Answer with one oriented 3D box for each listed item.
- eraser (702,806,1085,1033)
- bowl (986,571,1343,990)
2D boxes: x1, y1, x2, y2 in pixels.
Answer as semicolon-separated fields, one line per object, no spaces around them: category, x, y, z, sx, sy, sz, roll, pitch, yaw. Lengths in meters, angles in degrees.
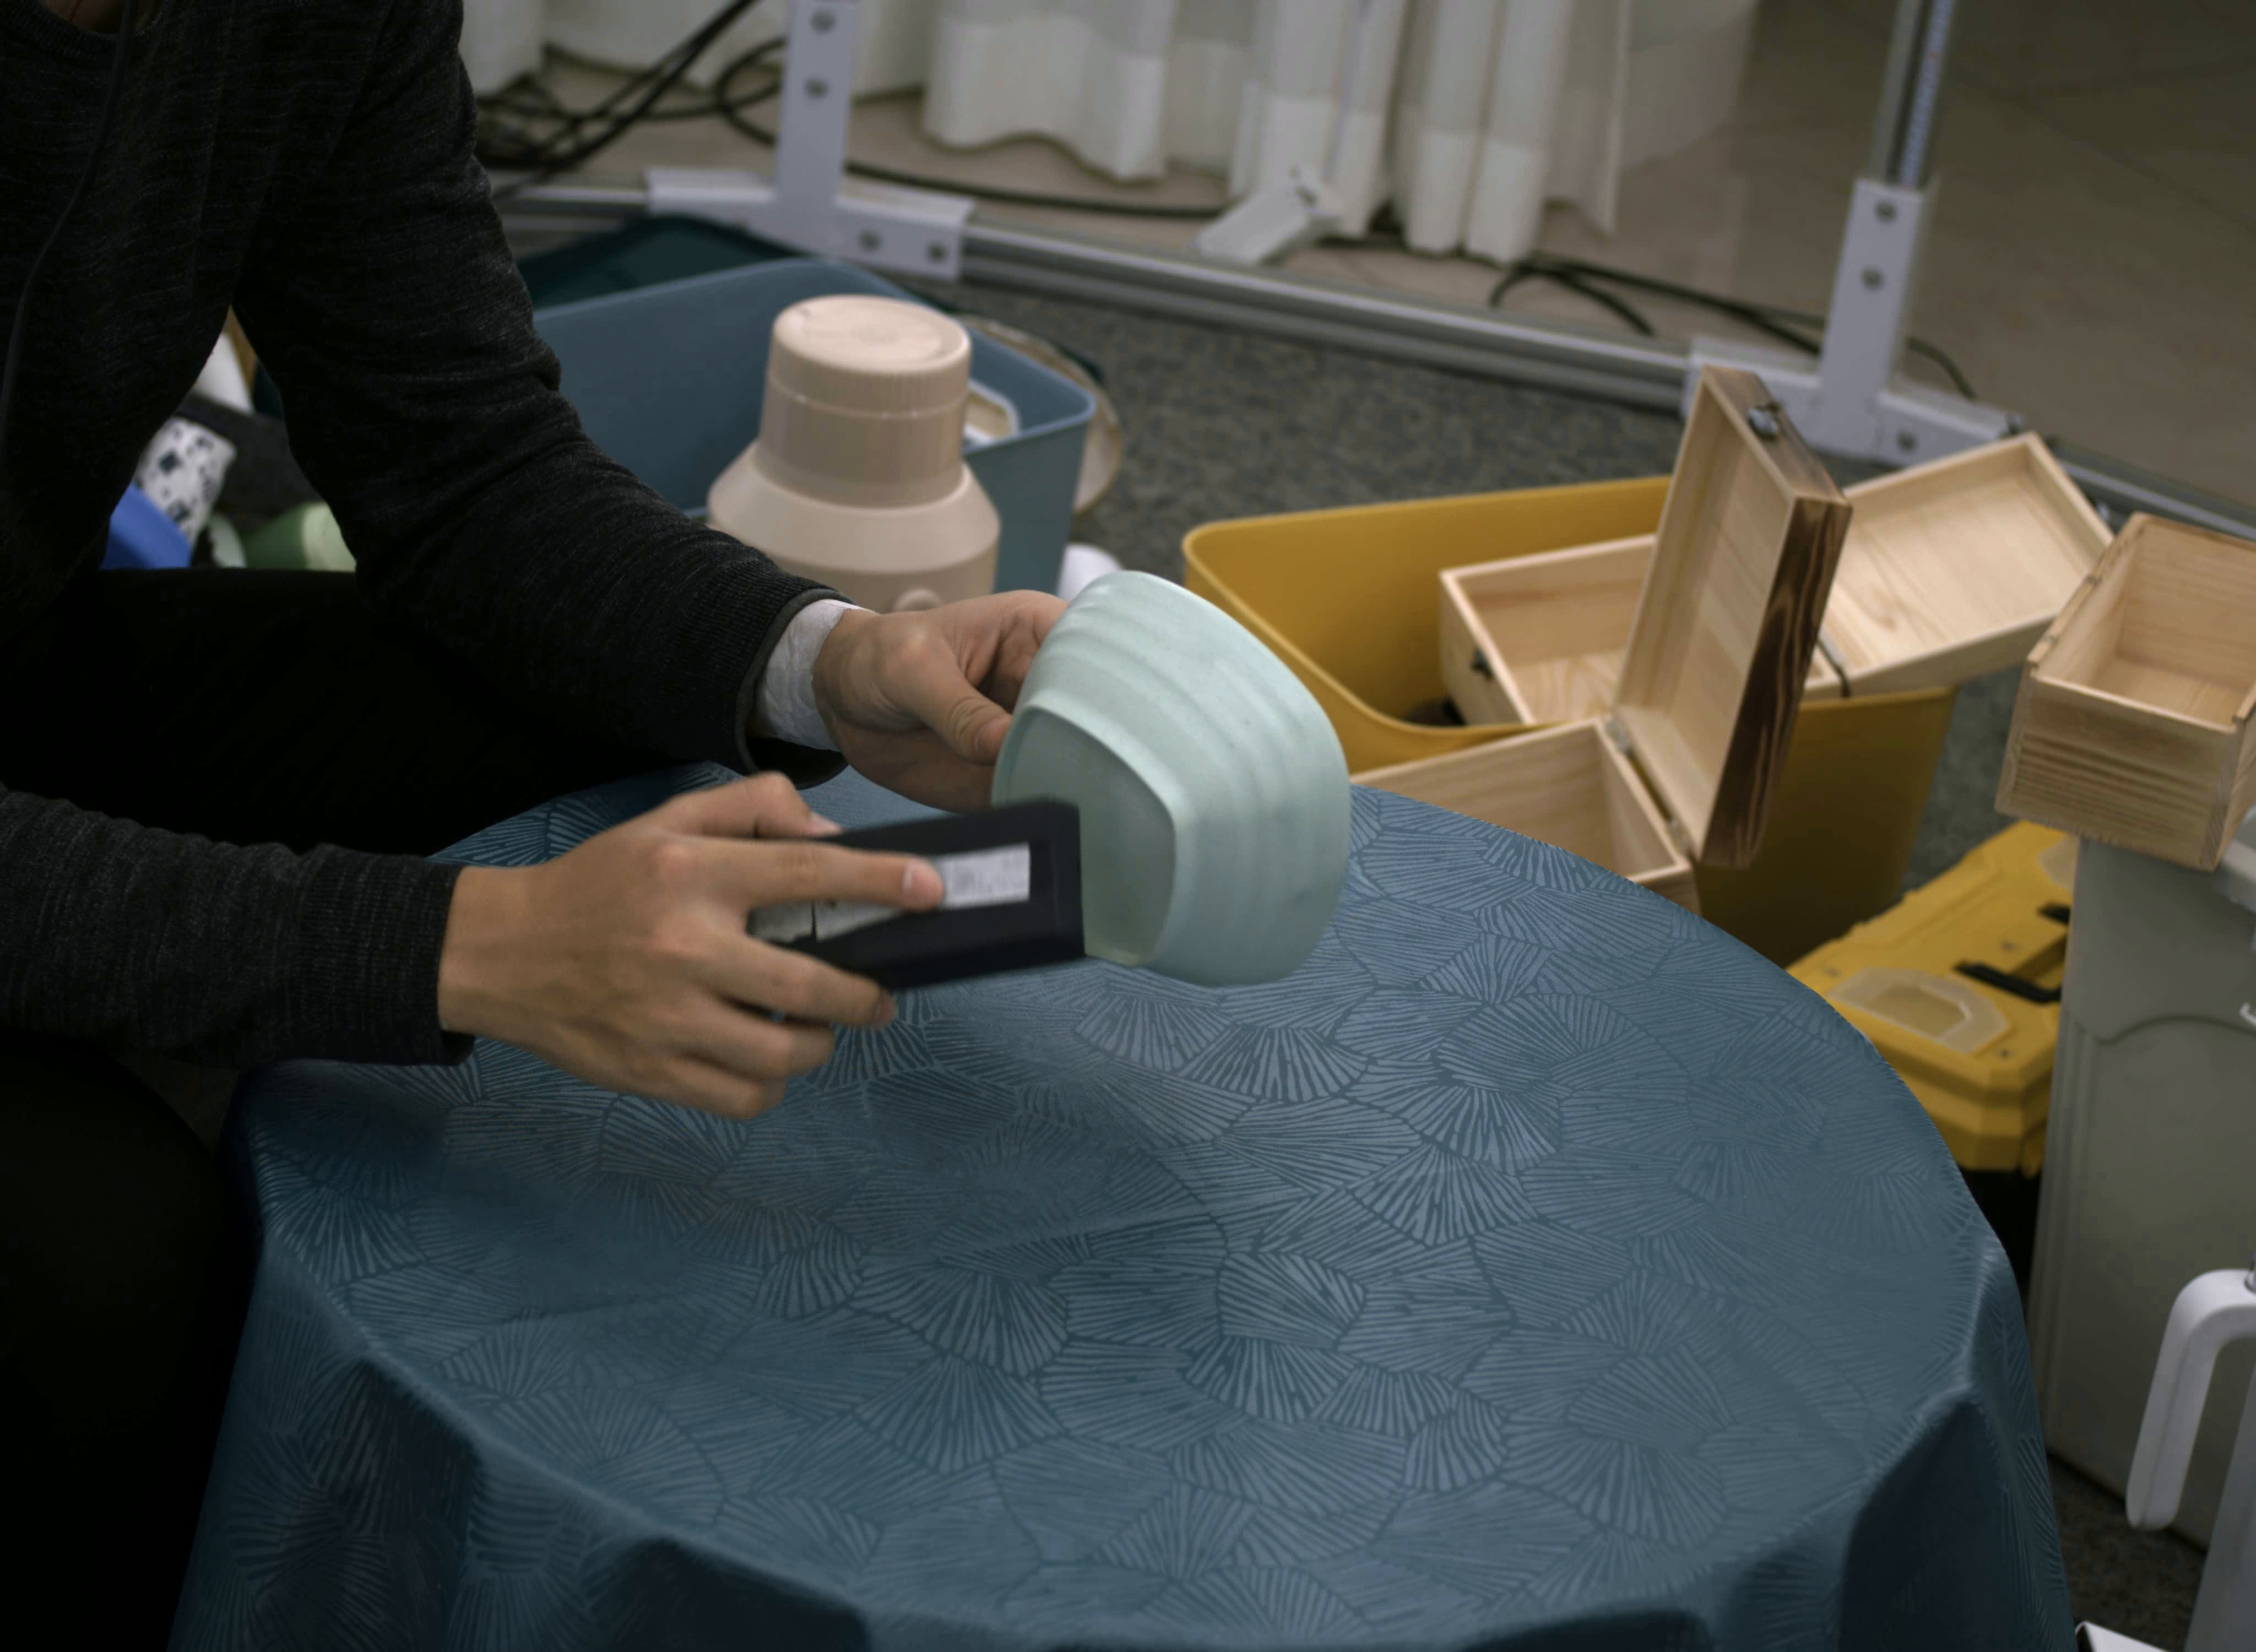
eraser;-0.075;0.030;1.720;0.125;0.030;0.054;-10;65;14
bowl;0.002;-0.006;1.798;0.058;0.151;0.152;-26;42;-37
